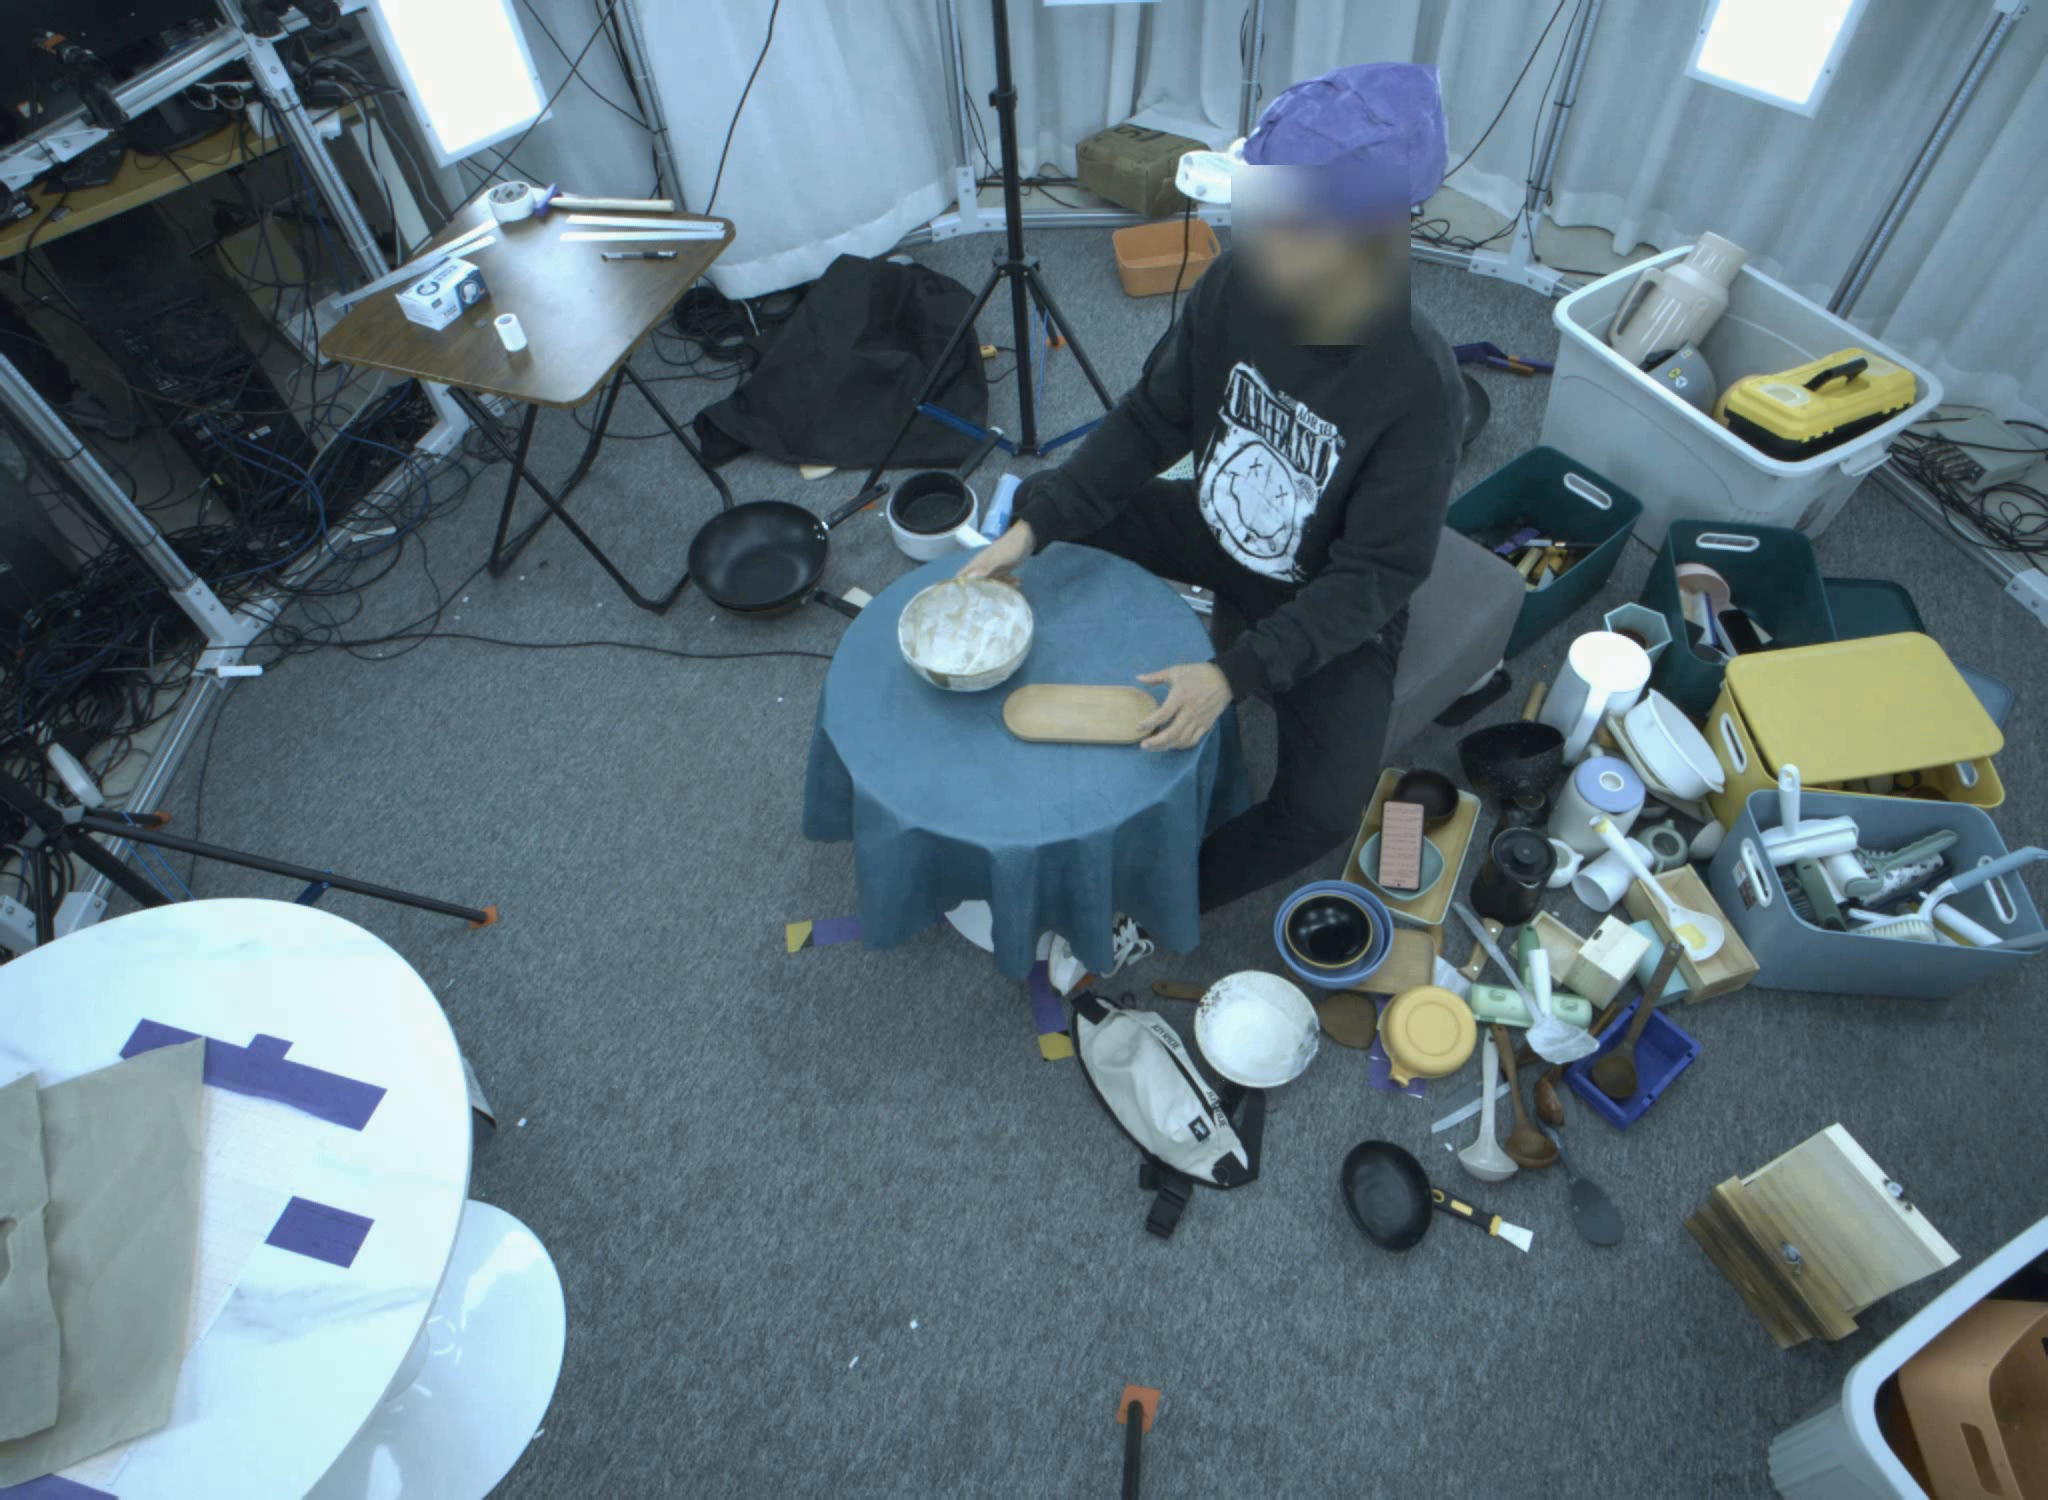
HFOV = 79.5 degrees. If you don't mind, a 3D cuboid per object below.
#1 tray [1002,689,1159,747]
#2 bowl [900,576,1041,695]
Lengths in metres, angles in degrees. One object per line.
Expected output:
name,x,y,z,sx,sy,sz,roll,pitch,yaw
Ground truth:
tray,0.083,-0.047,1.819,0.230,0.020,0.101,0,53,4
bowl,-0.078,-0.155,1.852,0.214,0.095,0.212,-1,54,2
